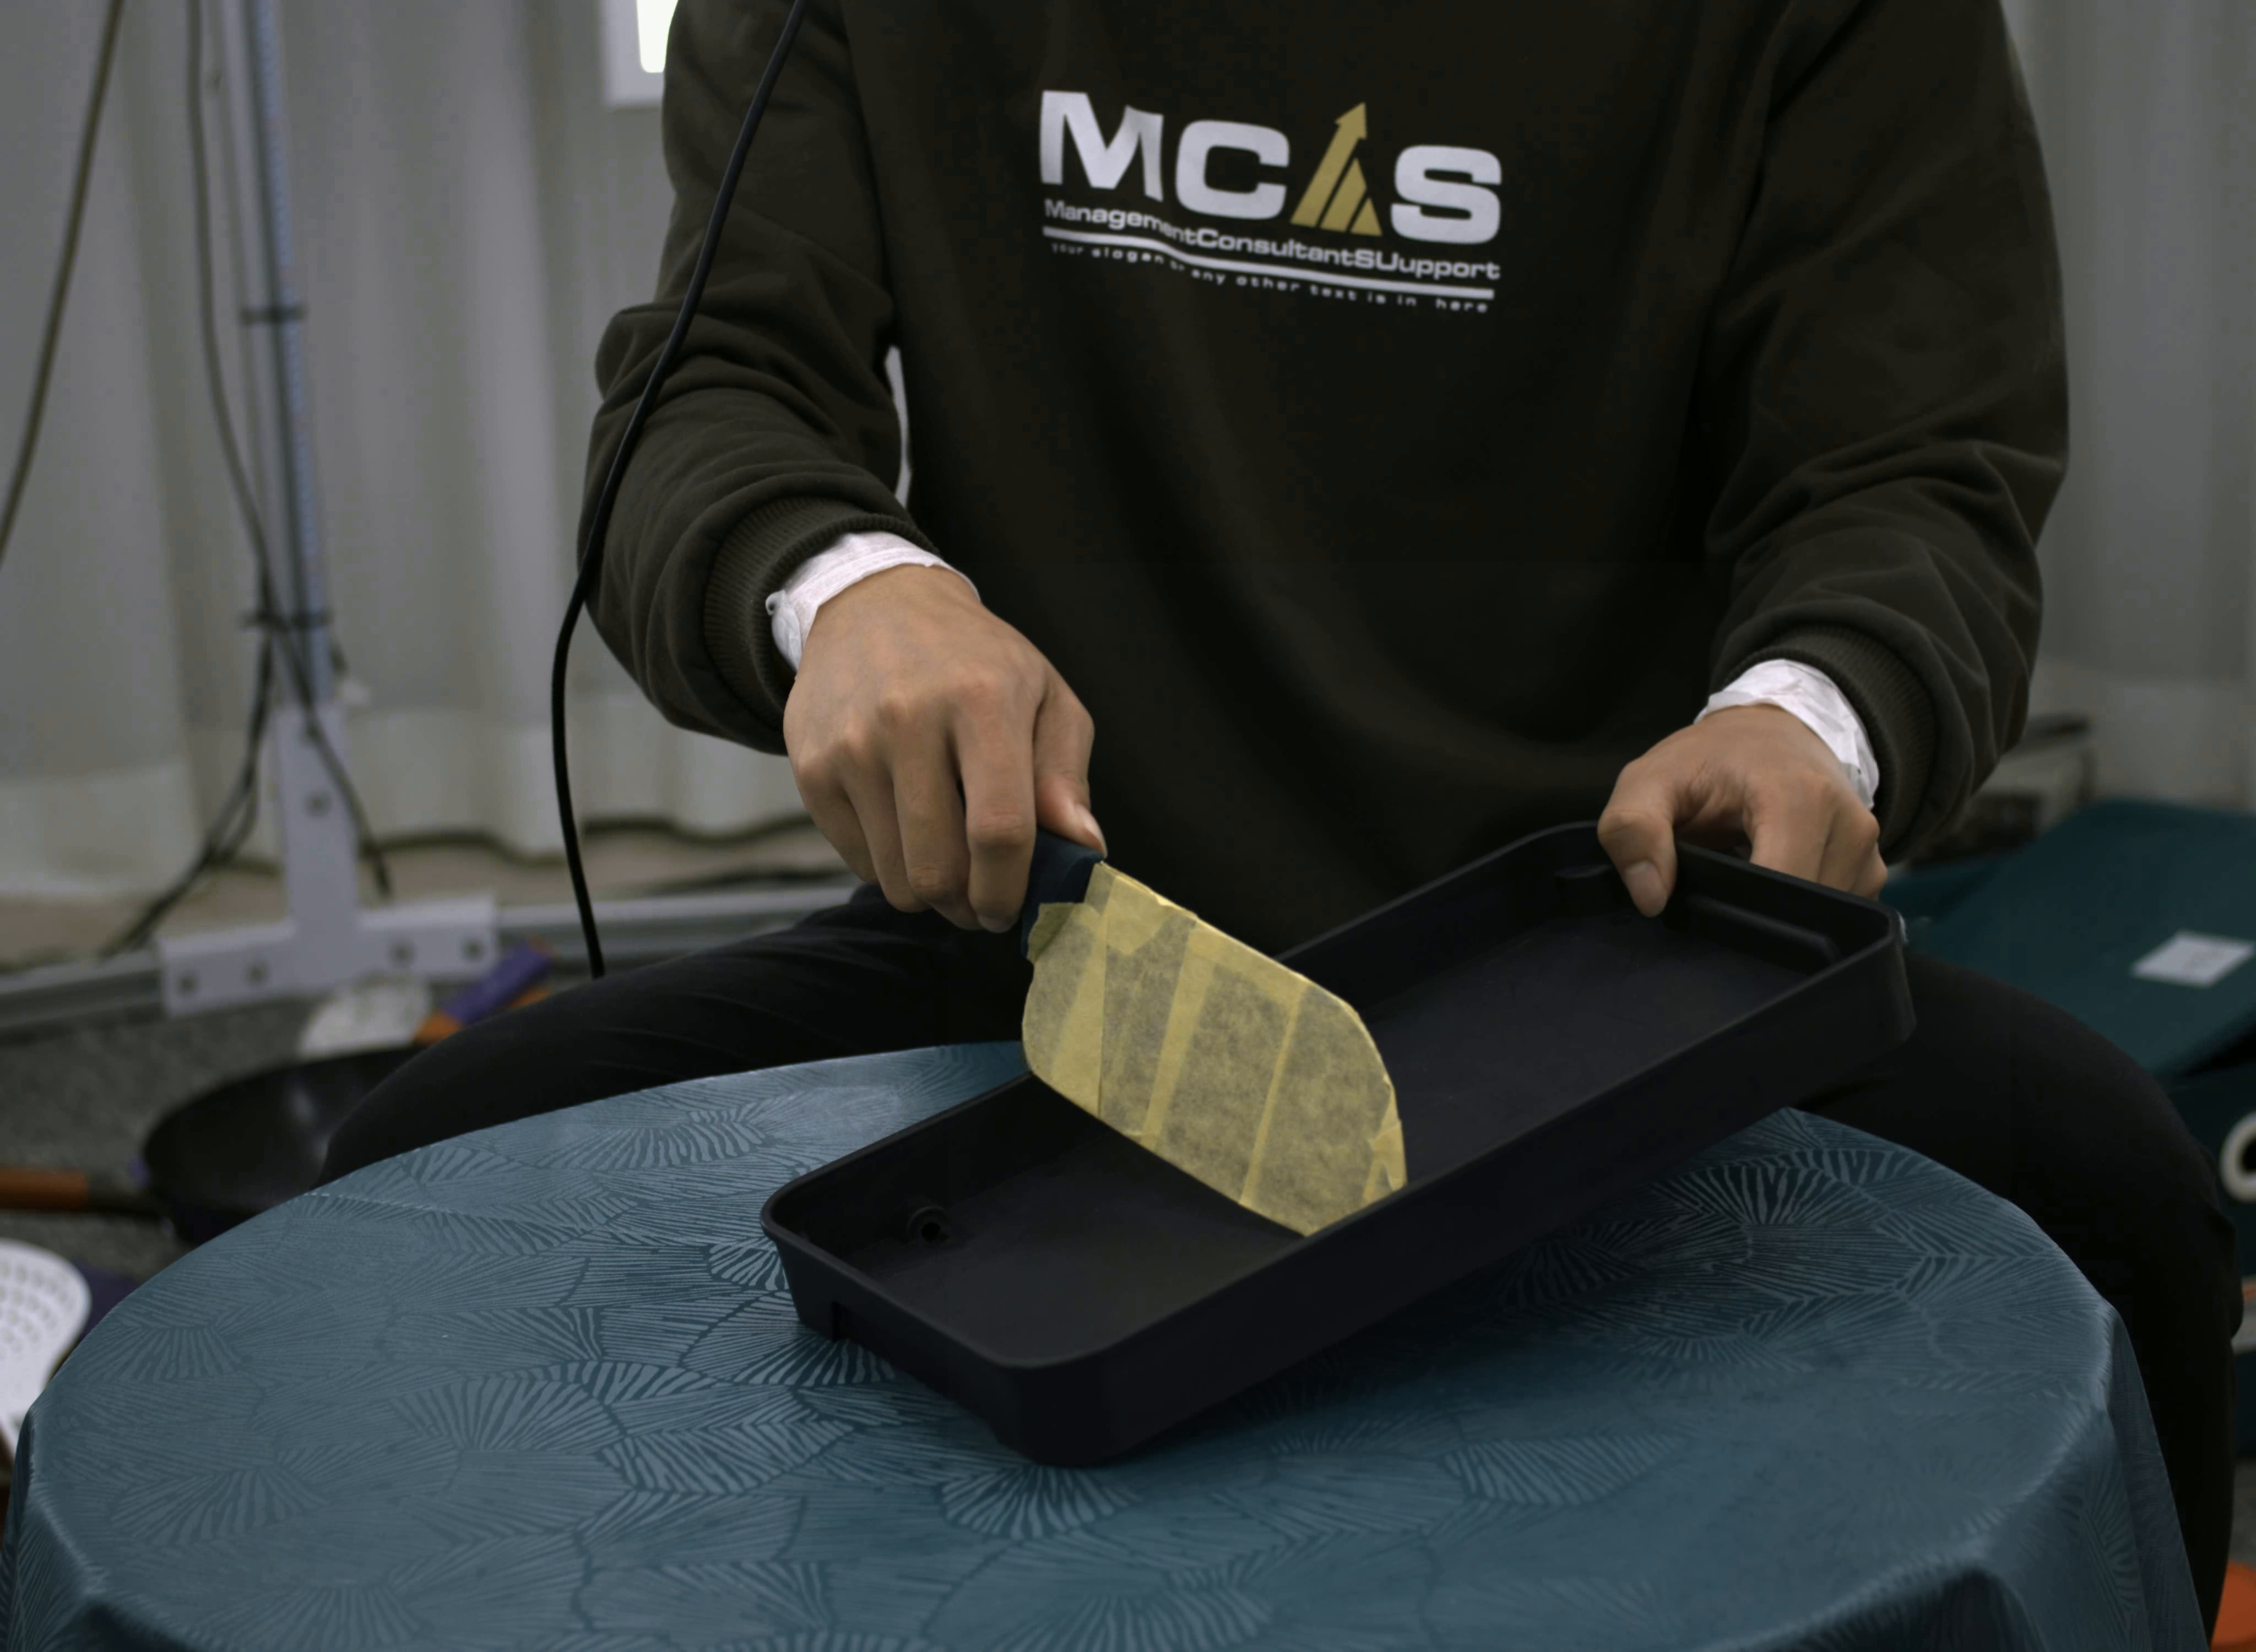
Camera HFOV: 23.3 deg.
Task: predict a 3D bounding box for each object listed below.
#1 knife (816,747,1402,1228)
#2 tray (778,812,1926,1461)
[{"bbox_3d":[-0.009,0.047,1.638,0.027,0.081,0.292,5,20,-41],"label":"knife"},{"bbox_3d":[0.068,0.085,1.615,0.318,0.037,0.185,-26,22,-26],"label":"tray"}]
